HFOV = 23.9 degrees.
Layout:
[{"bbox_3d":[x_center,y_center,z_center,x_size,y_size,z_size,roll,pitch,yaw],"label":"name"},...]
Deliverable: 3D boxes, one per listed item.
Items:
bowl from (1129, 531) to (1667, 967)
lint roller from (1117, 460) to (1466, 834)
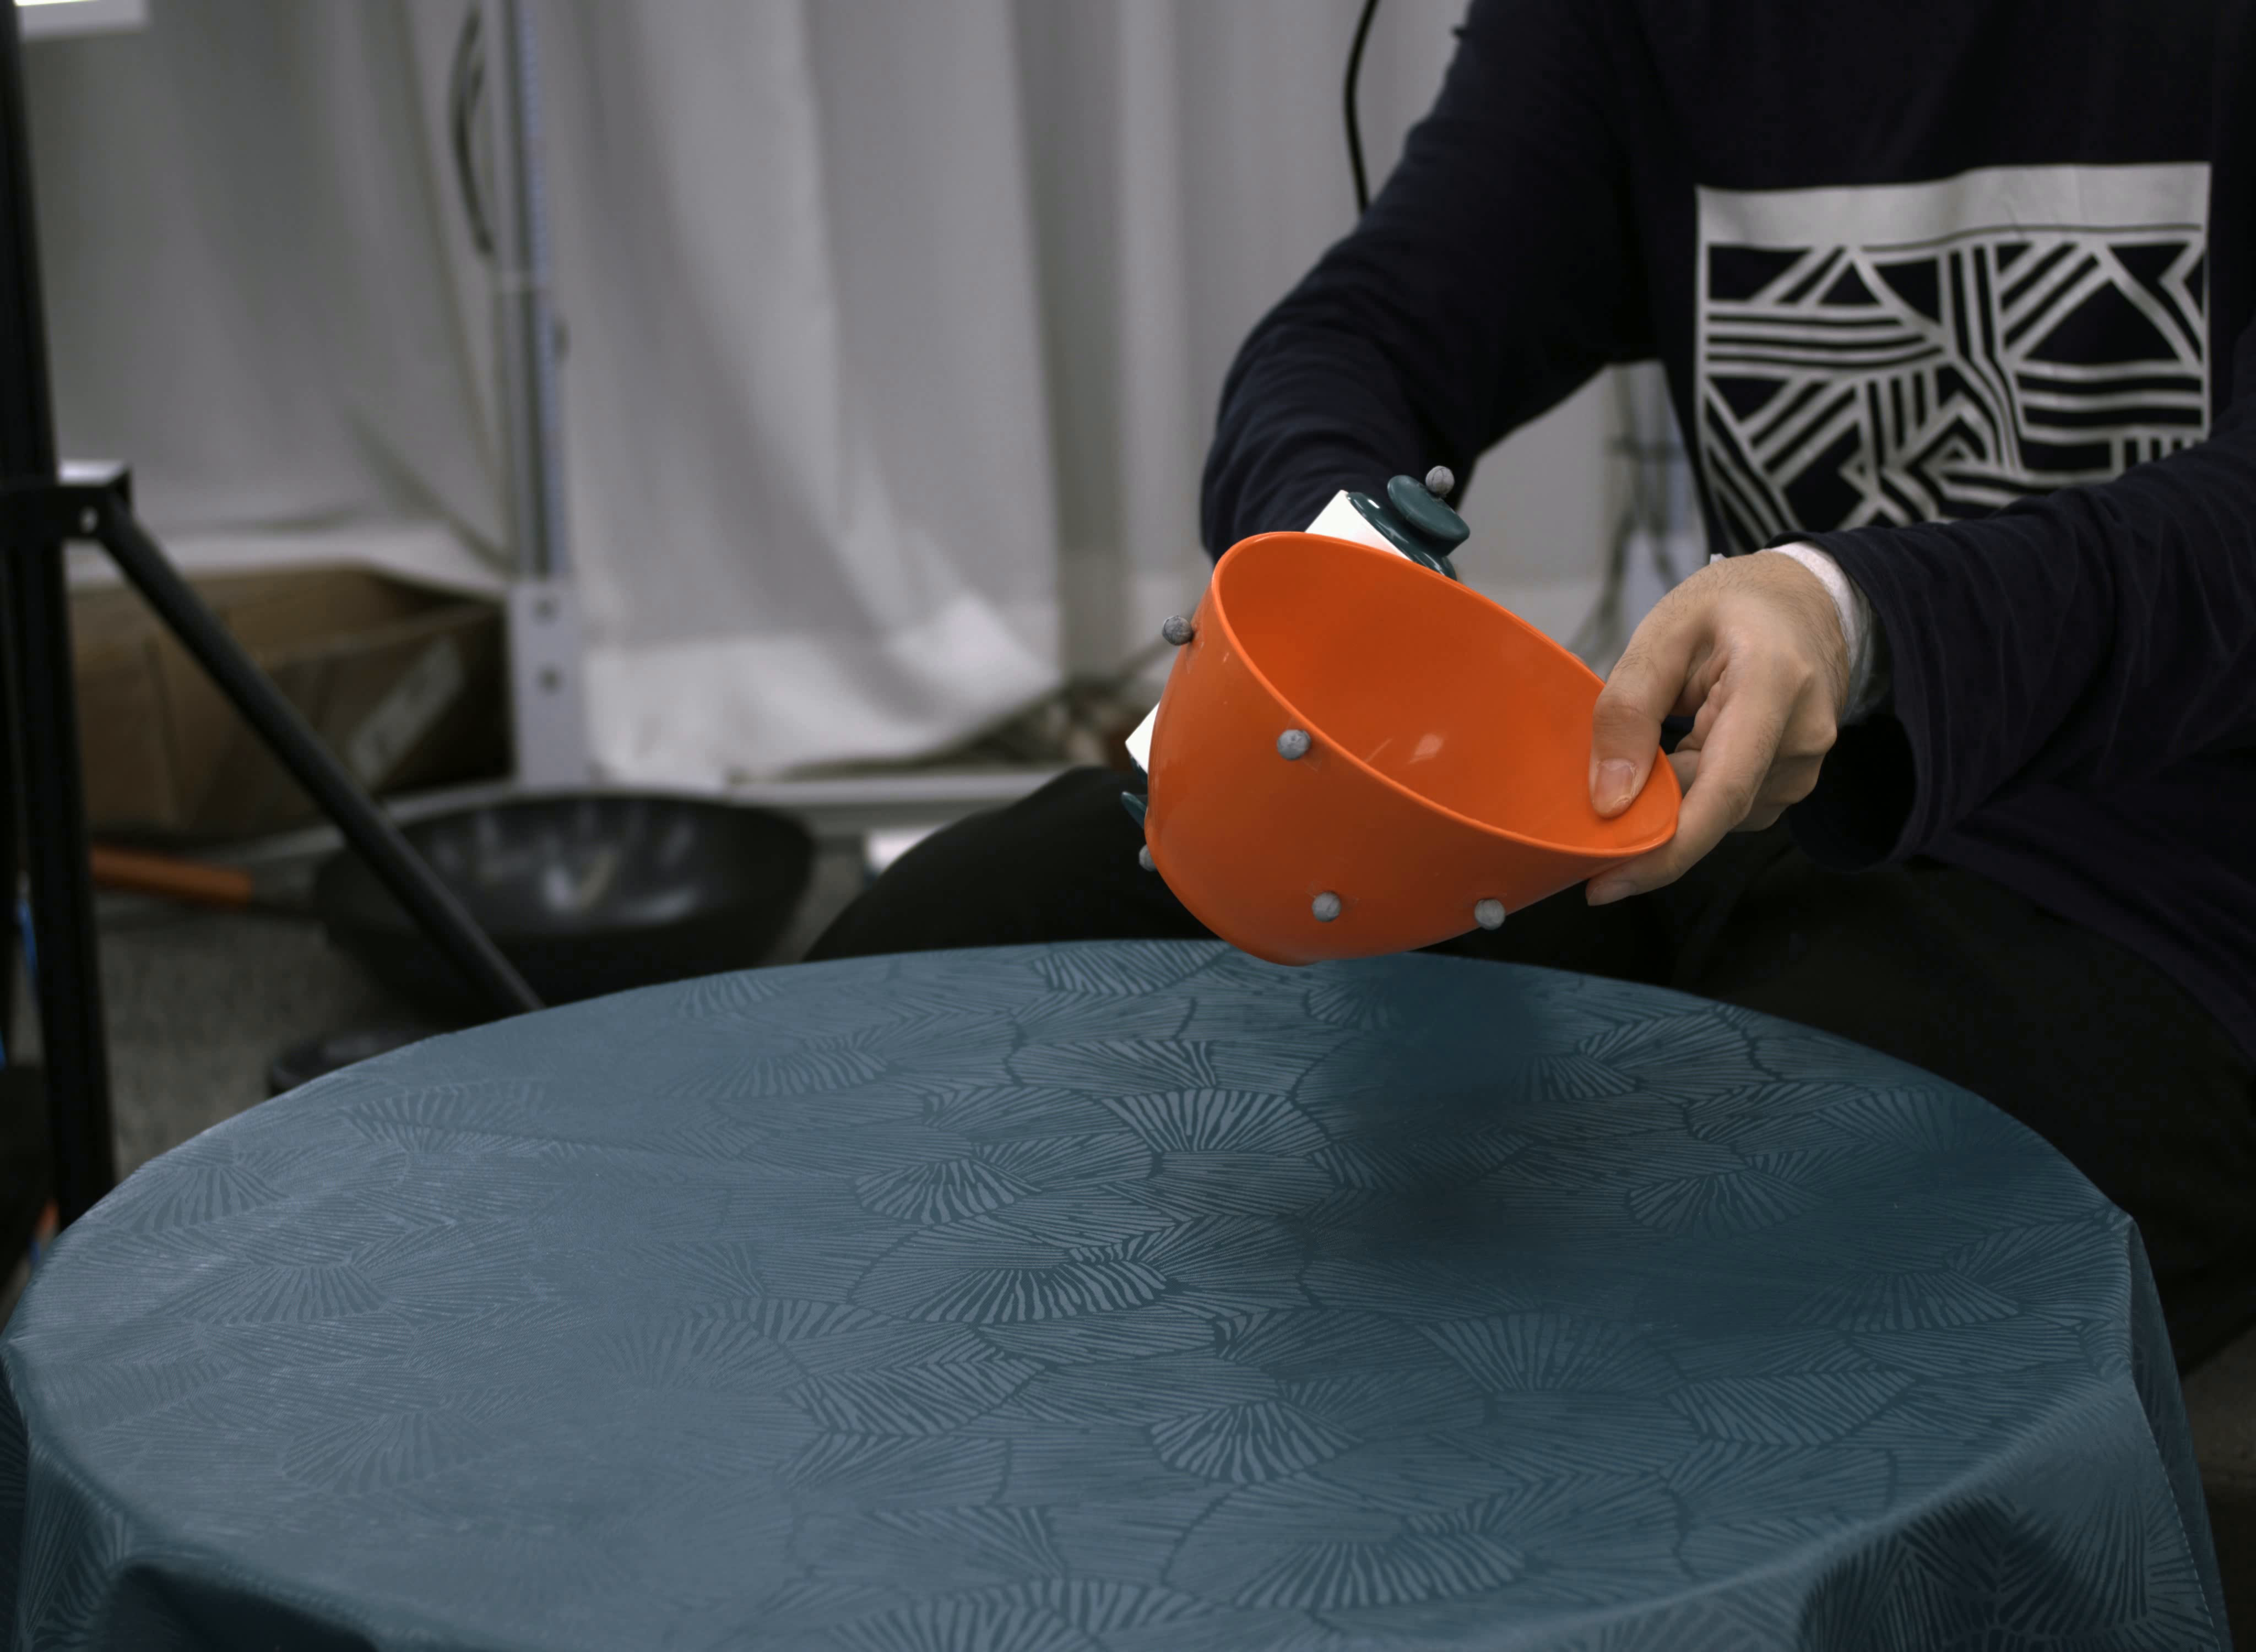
[{"bbox_3d":[0.063,-0.009,1.500,0.145,0.105,0.149,28,30,-20],"label":"bowl"},{"bbox_3d":[0.062,-0.049,1.639,0.048,0.135,0.178,42,10,7],"label":"lint roller"}]
